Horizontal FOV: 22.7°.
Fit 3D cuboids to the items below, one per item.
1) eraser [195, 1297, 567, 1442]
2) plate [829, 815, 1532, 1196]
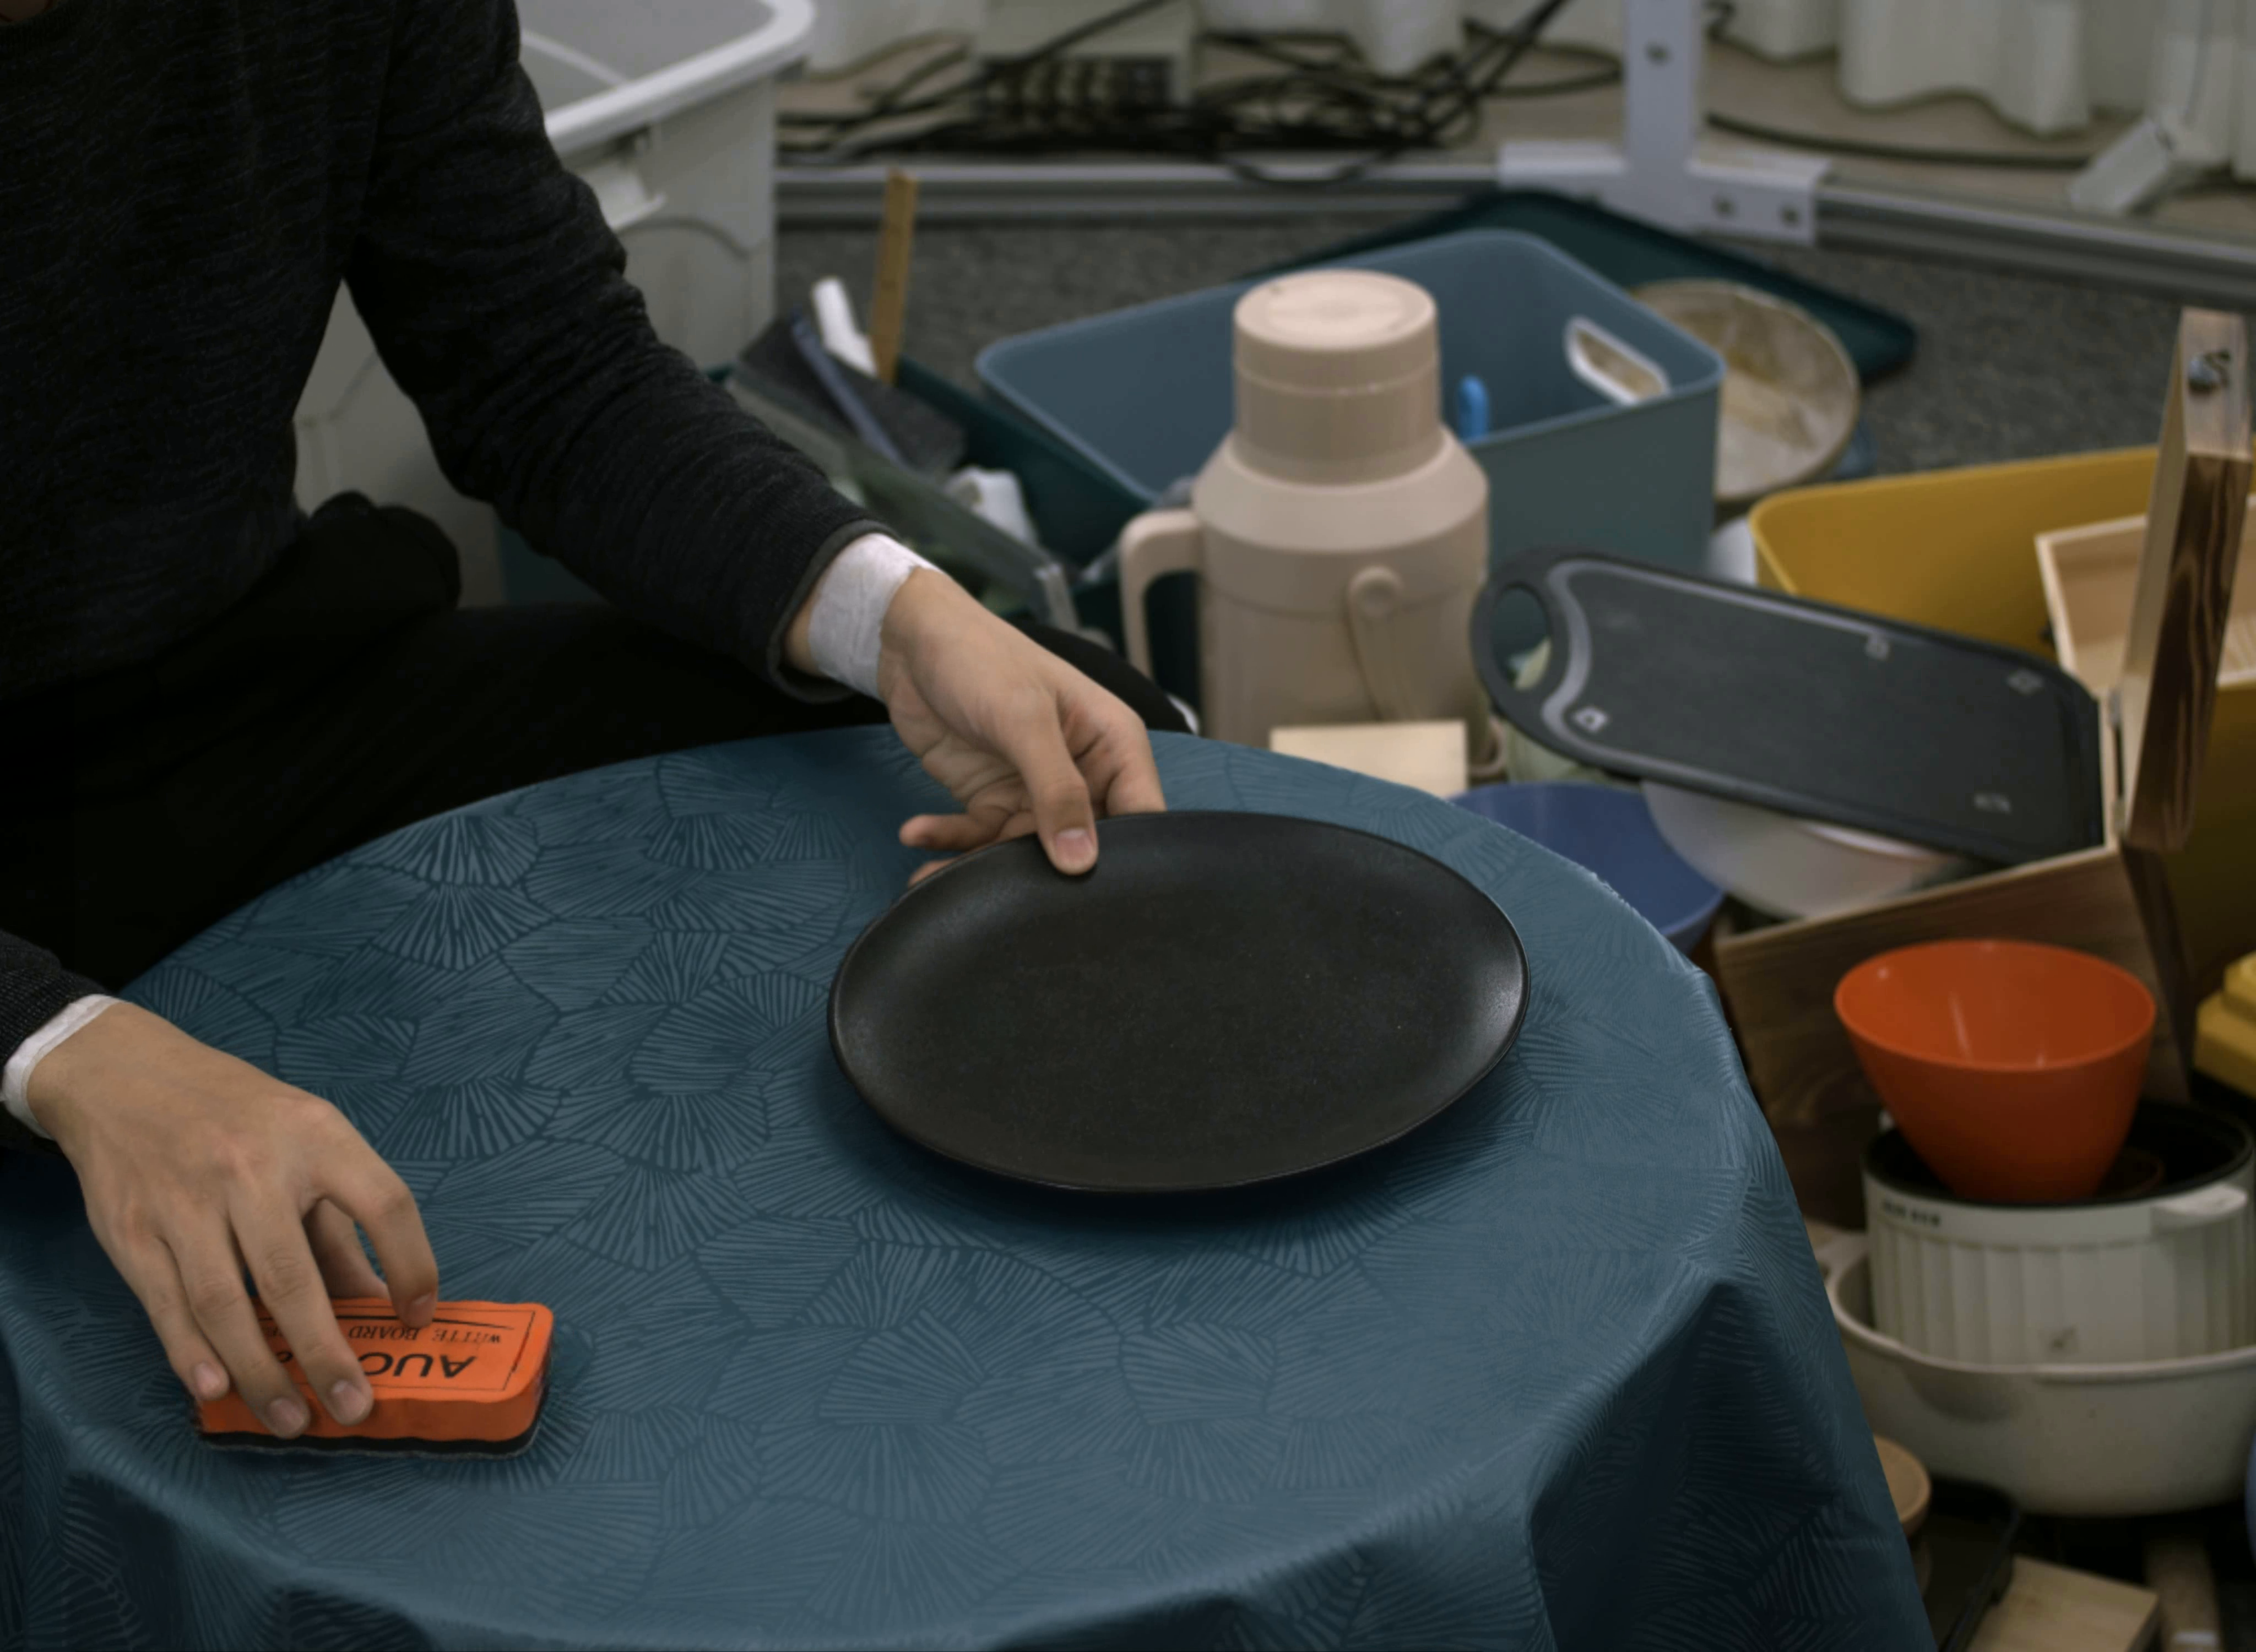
[{"bbox_3d":[-0.233,0.171,1.759,0.107,0.023,0.060,-1,21,9],"label":"eraser"},{"bbox_3d":[0.019,0.065,1.936,0.243,0.023,0.248,-3,29,2],"label":"plate"}]
